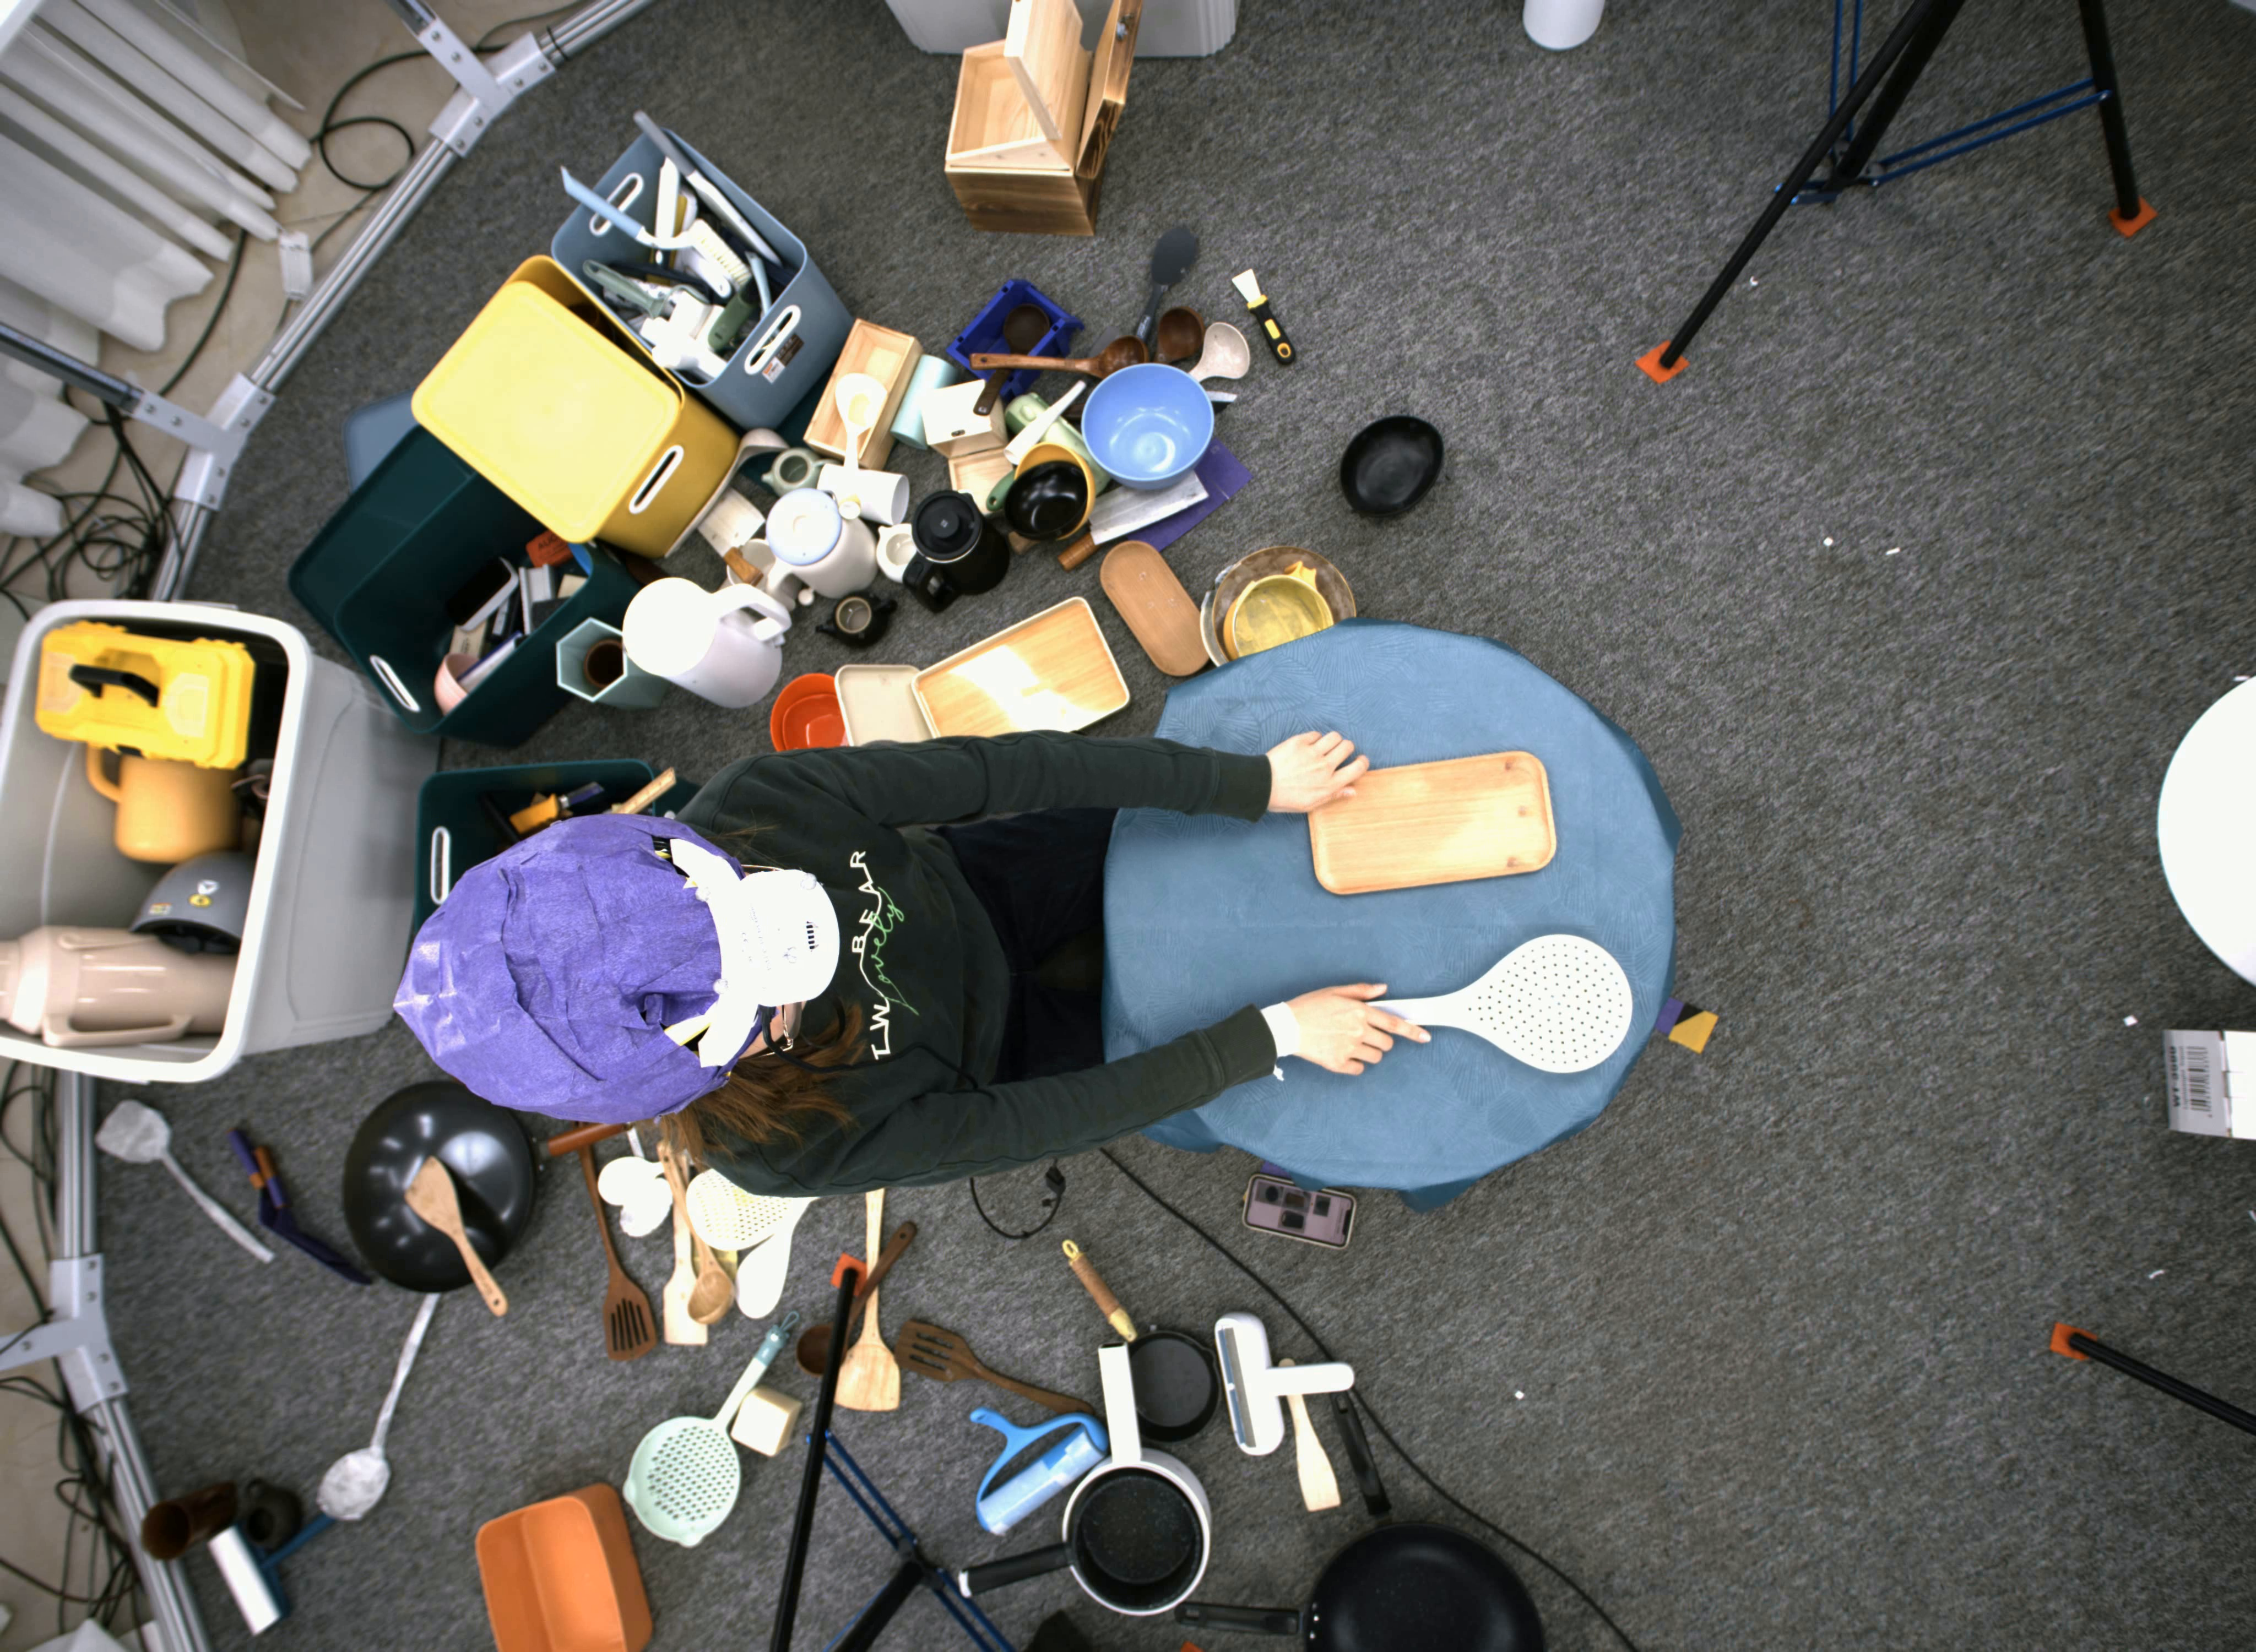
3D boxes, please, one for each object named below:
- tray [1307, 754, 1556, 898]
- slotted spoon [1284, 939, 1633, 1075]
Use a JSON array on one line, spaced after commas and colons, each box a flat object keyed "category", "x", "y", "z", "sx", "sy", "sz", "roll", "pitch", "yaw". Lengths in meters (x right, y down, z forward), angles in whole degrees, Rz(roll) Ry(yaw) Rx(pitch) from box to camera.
[{"category": "tray", "x": 0.319, "y": -0.001, "z": 1.453, "sx": 0.252, "sy": 0.023, "sz": 0.129, "roll": -7, "pitch": 83, "yaw": 11}, {"category": "slotted spoon", "x": 0.335, "y": 0.190, "z": 1.422, "sx": 0.351, "sy": 0.046, "sz": 0.135, "roll": -4, "pitch": 82, "yaw": 11}]
